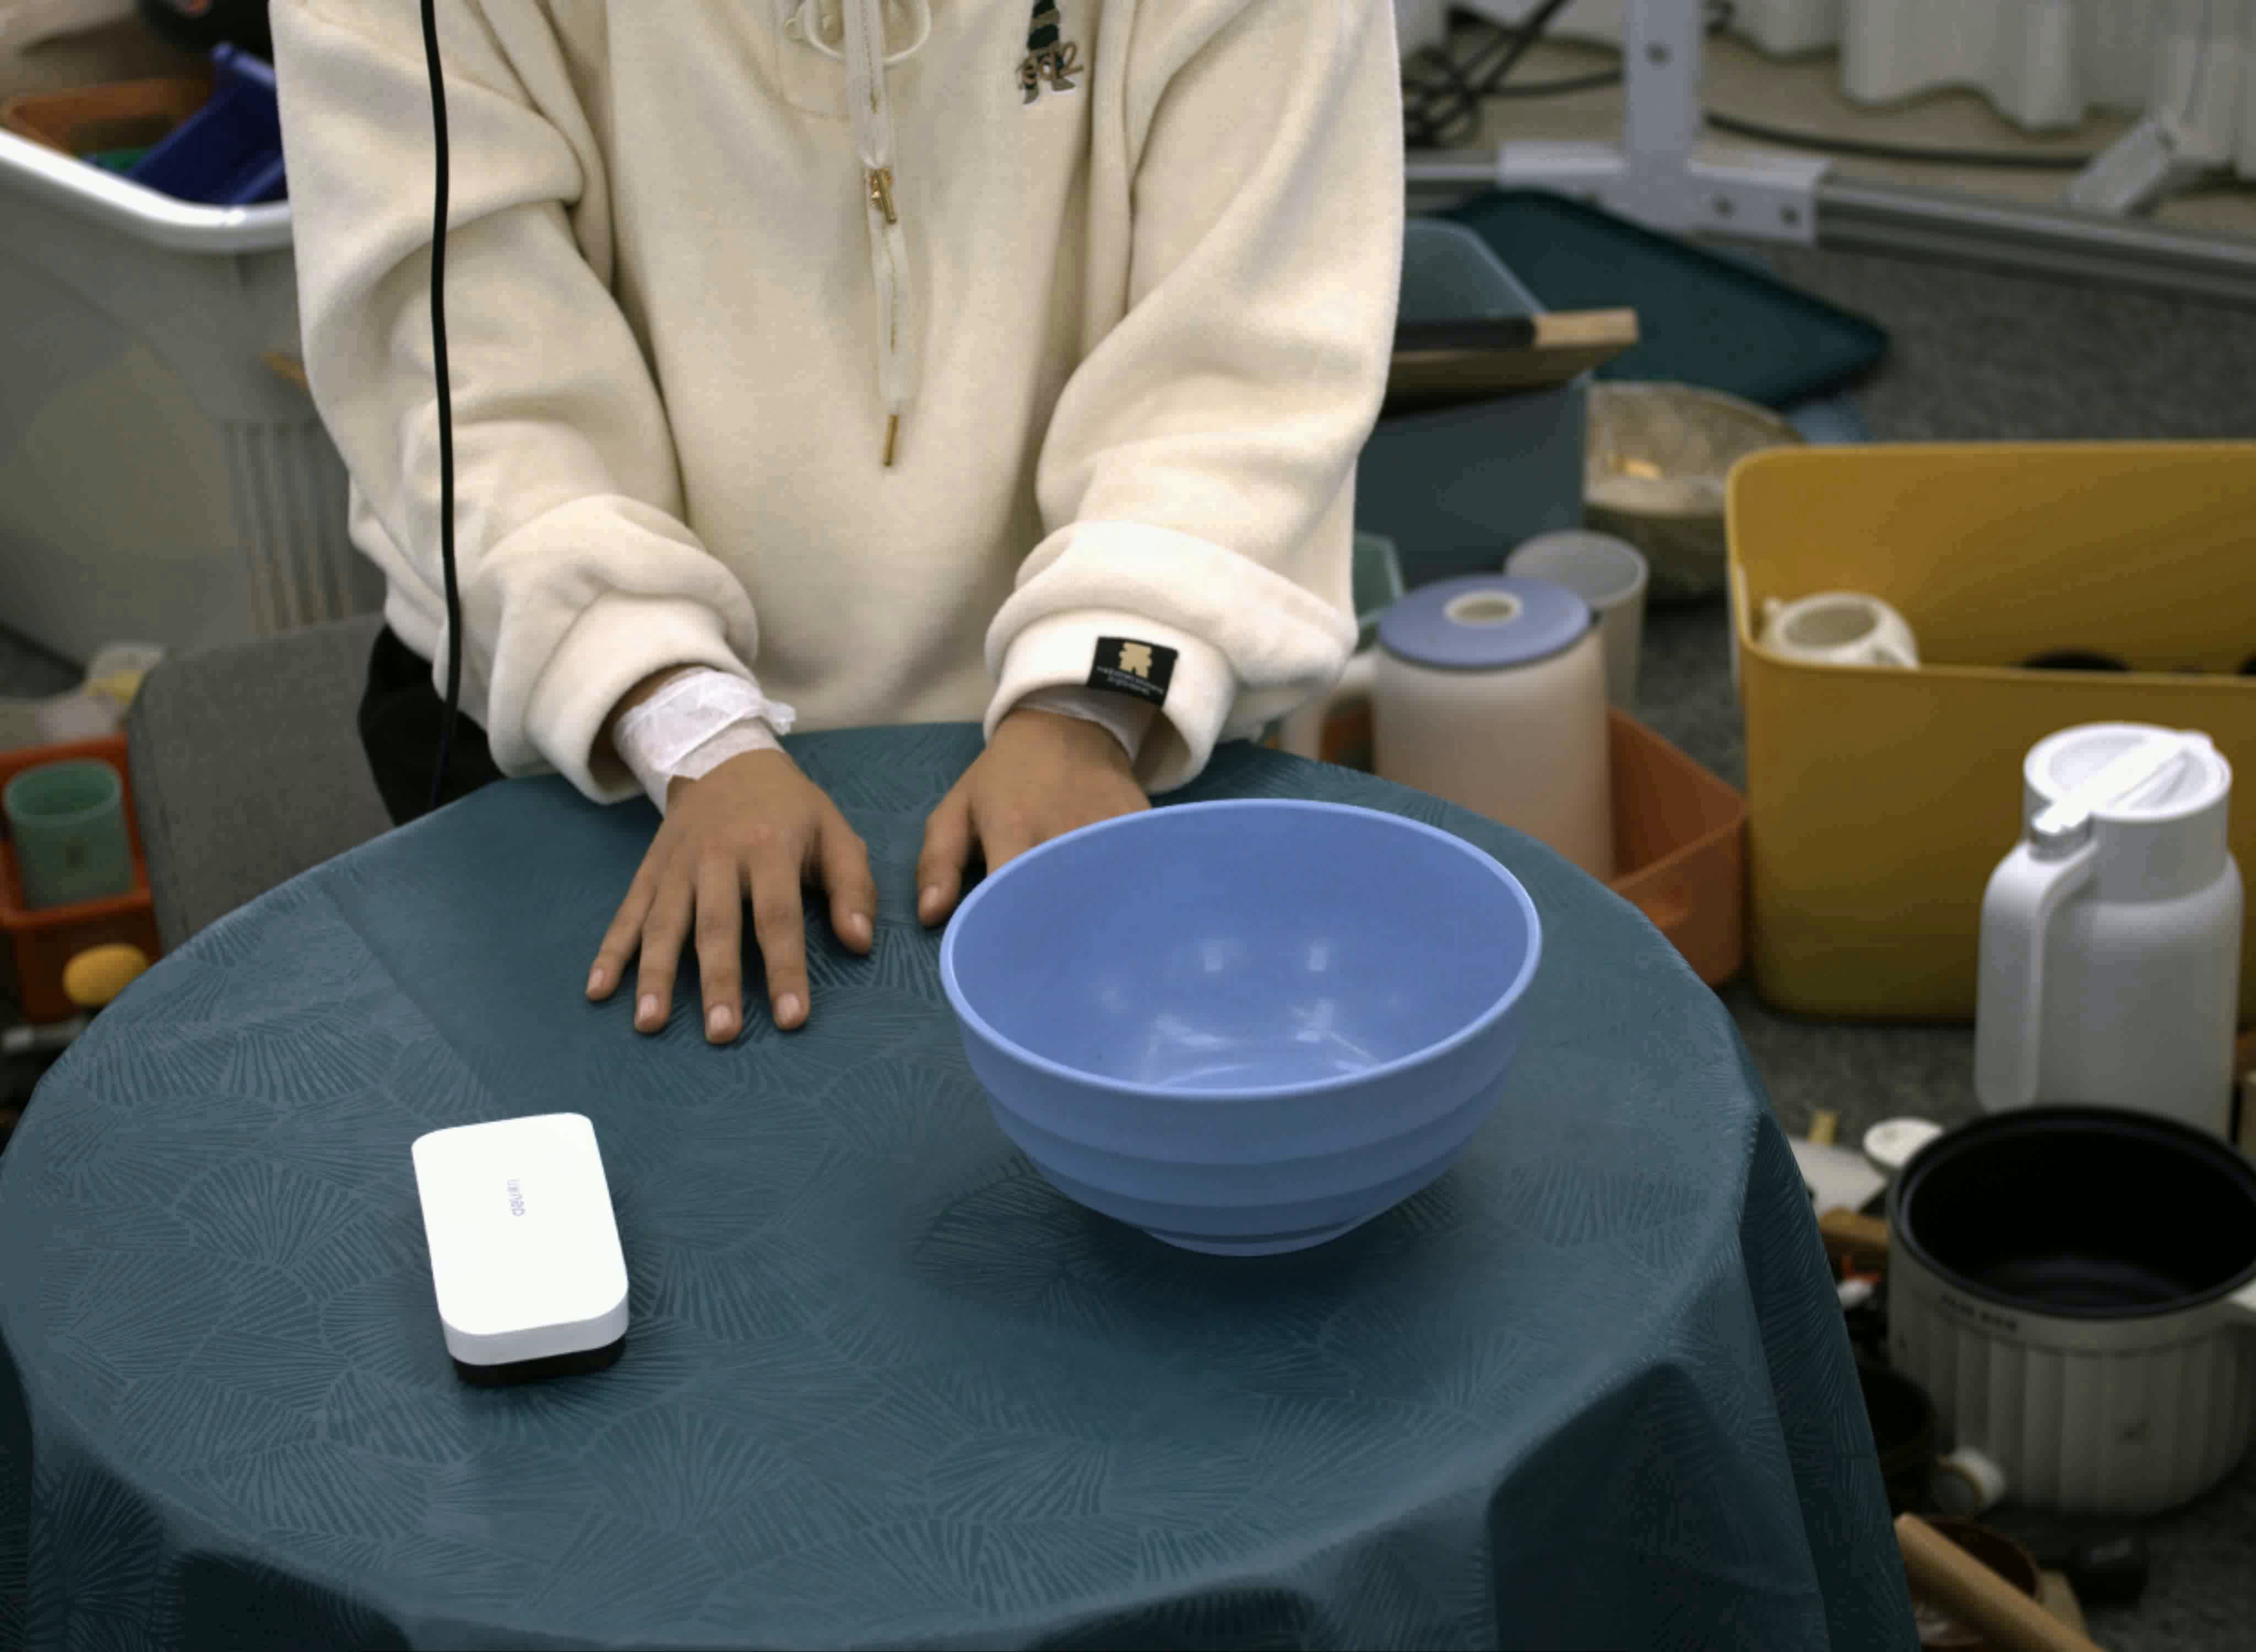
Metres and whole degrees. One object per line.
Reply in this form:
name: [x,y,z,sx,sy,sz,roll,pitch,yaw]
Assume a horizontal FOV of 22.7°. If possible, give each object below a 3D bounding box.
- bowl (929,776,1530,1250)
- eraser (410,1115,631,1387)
bowl: [0.036,0.074,1.849,0.195,0.094,0.200,-4,32,3]
eraser: [-0.197,0.134,1.823,0.063,0.034,0.133,-7,28,-10]
